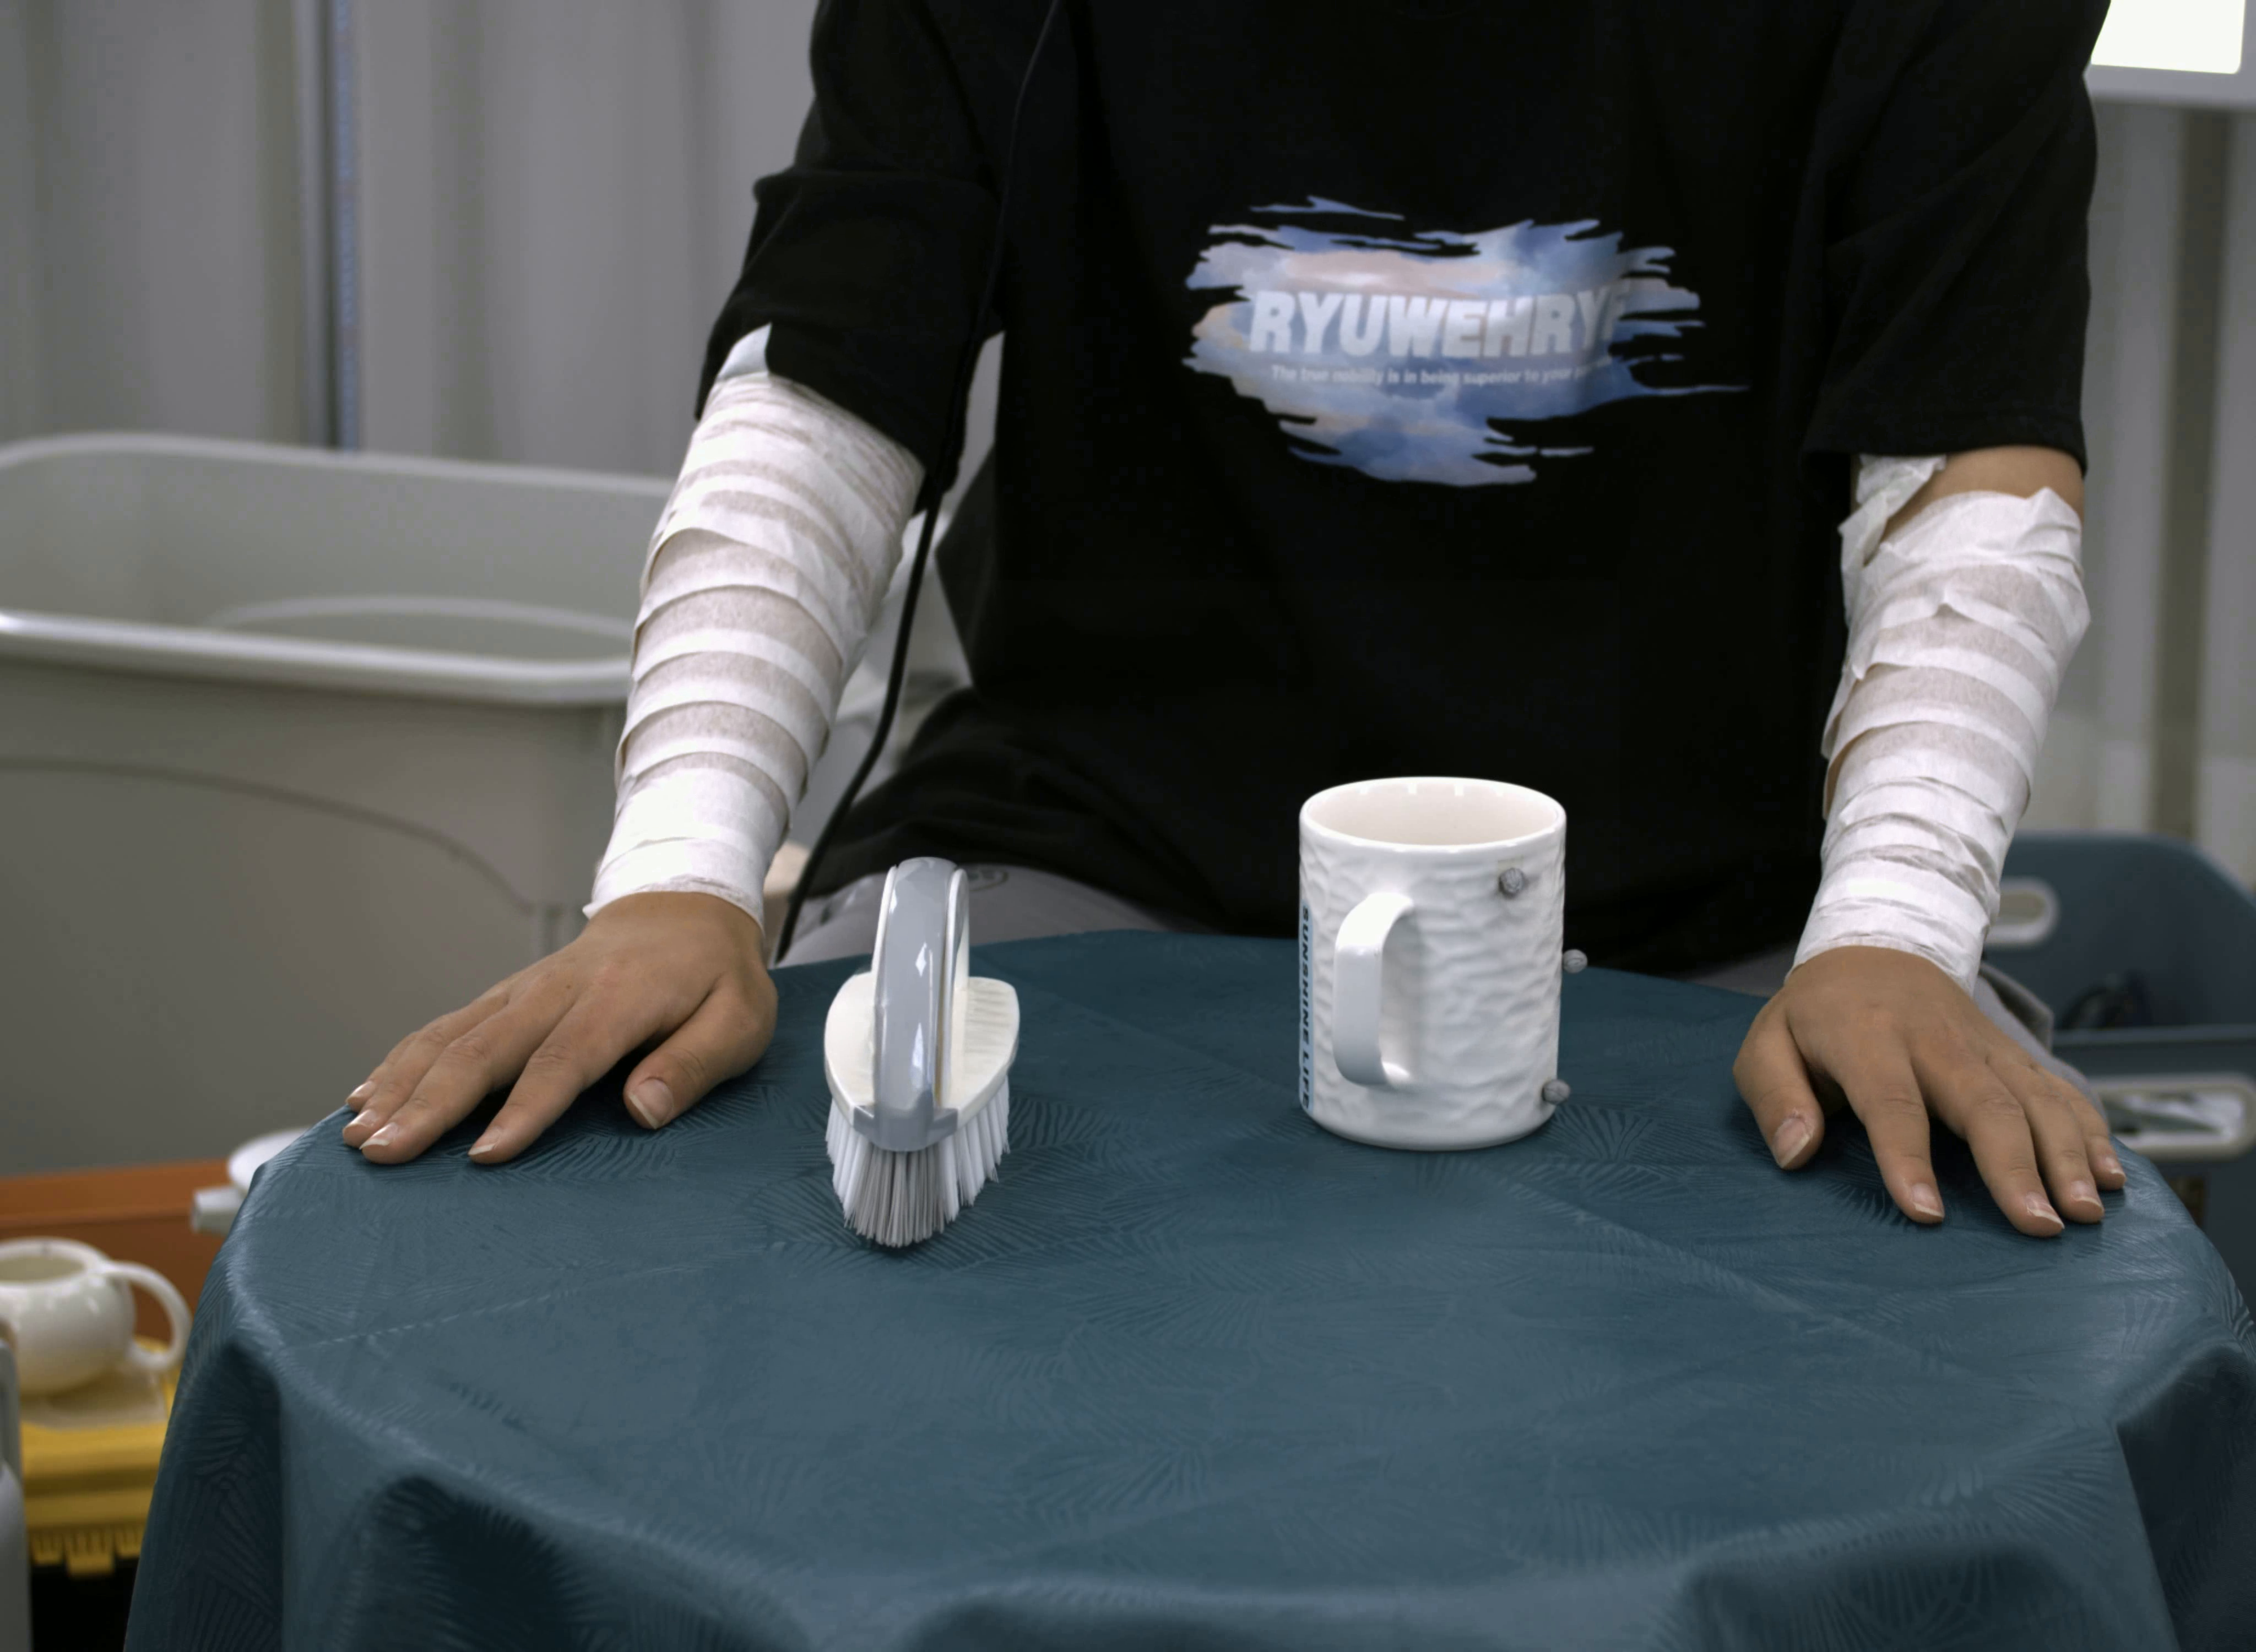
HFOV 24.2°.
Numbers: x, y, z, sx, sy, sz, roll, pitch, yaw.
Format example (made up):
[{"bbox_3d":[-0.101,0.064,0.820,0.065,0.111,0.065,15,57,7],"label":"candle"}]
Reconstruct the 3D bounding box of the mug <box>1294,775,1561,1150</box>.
[{"bbox_3d":[0.090,0.048,1.670,0.084,0.103,0.118,6,17,18],"label":"mug"}]

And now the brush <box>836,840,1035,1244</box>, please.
[{"bbox_3d":[-0.063,0.061,1.635,0.061,0.095,0.174,-4,17,3],"label":"brush"}]
